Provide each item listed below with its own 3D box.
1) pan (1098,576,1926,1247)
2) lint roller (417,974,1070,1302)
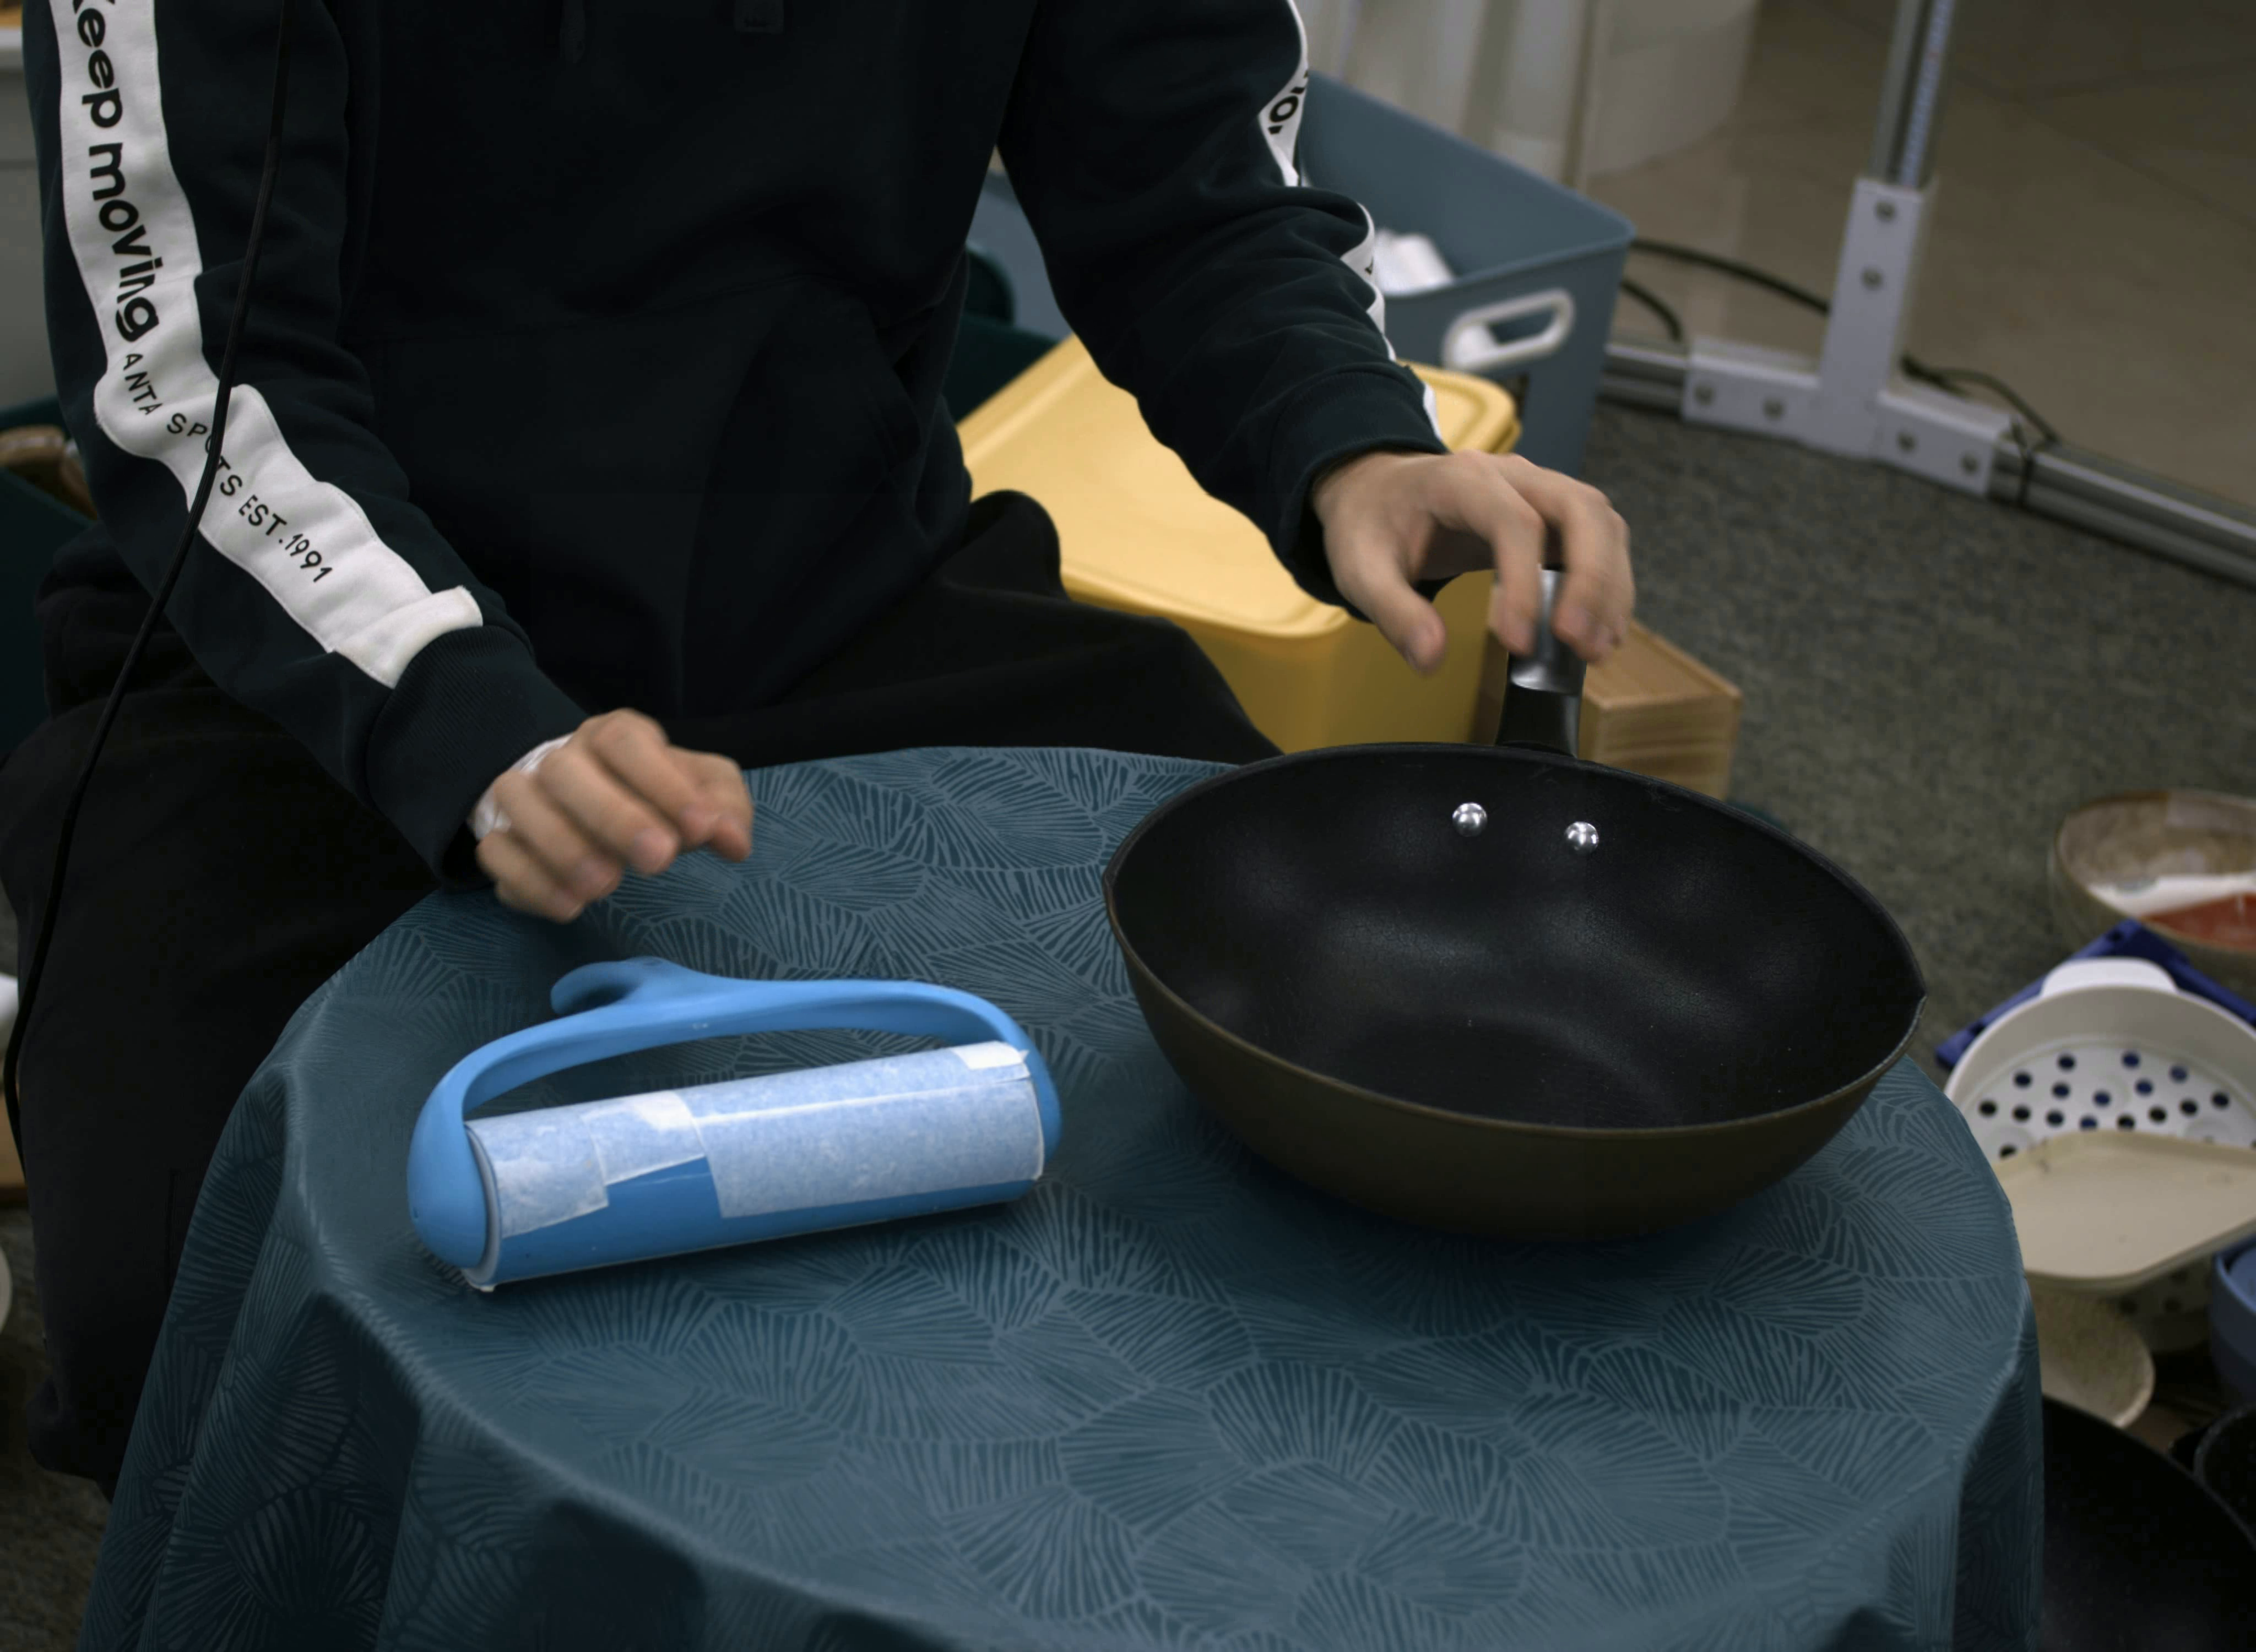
[{"bbox_3d":[0.139,0.030,1.924,0.287,0.086,0.465,9,26,4],"label":"pan"},{"bbox_3d":[-0.152,0.084,1.781,0.227,0.067,0.182,-11,32,-28],"label":"lint roller"}]
